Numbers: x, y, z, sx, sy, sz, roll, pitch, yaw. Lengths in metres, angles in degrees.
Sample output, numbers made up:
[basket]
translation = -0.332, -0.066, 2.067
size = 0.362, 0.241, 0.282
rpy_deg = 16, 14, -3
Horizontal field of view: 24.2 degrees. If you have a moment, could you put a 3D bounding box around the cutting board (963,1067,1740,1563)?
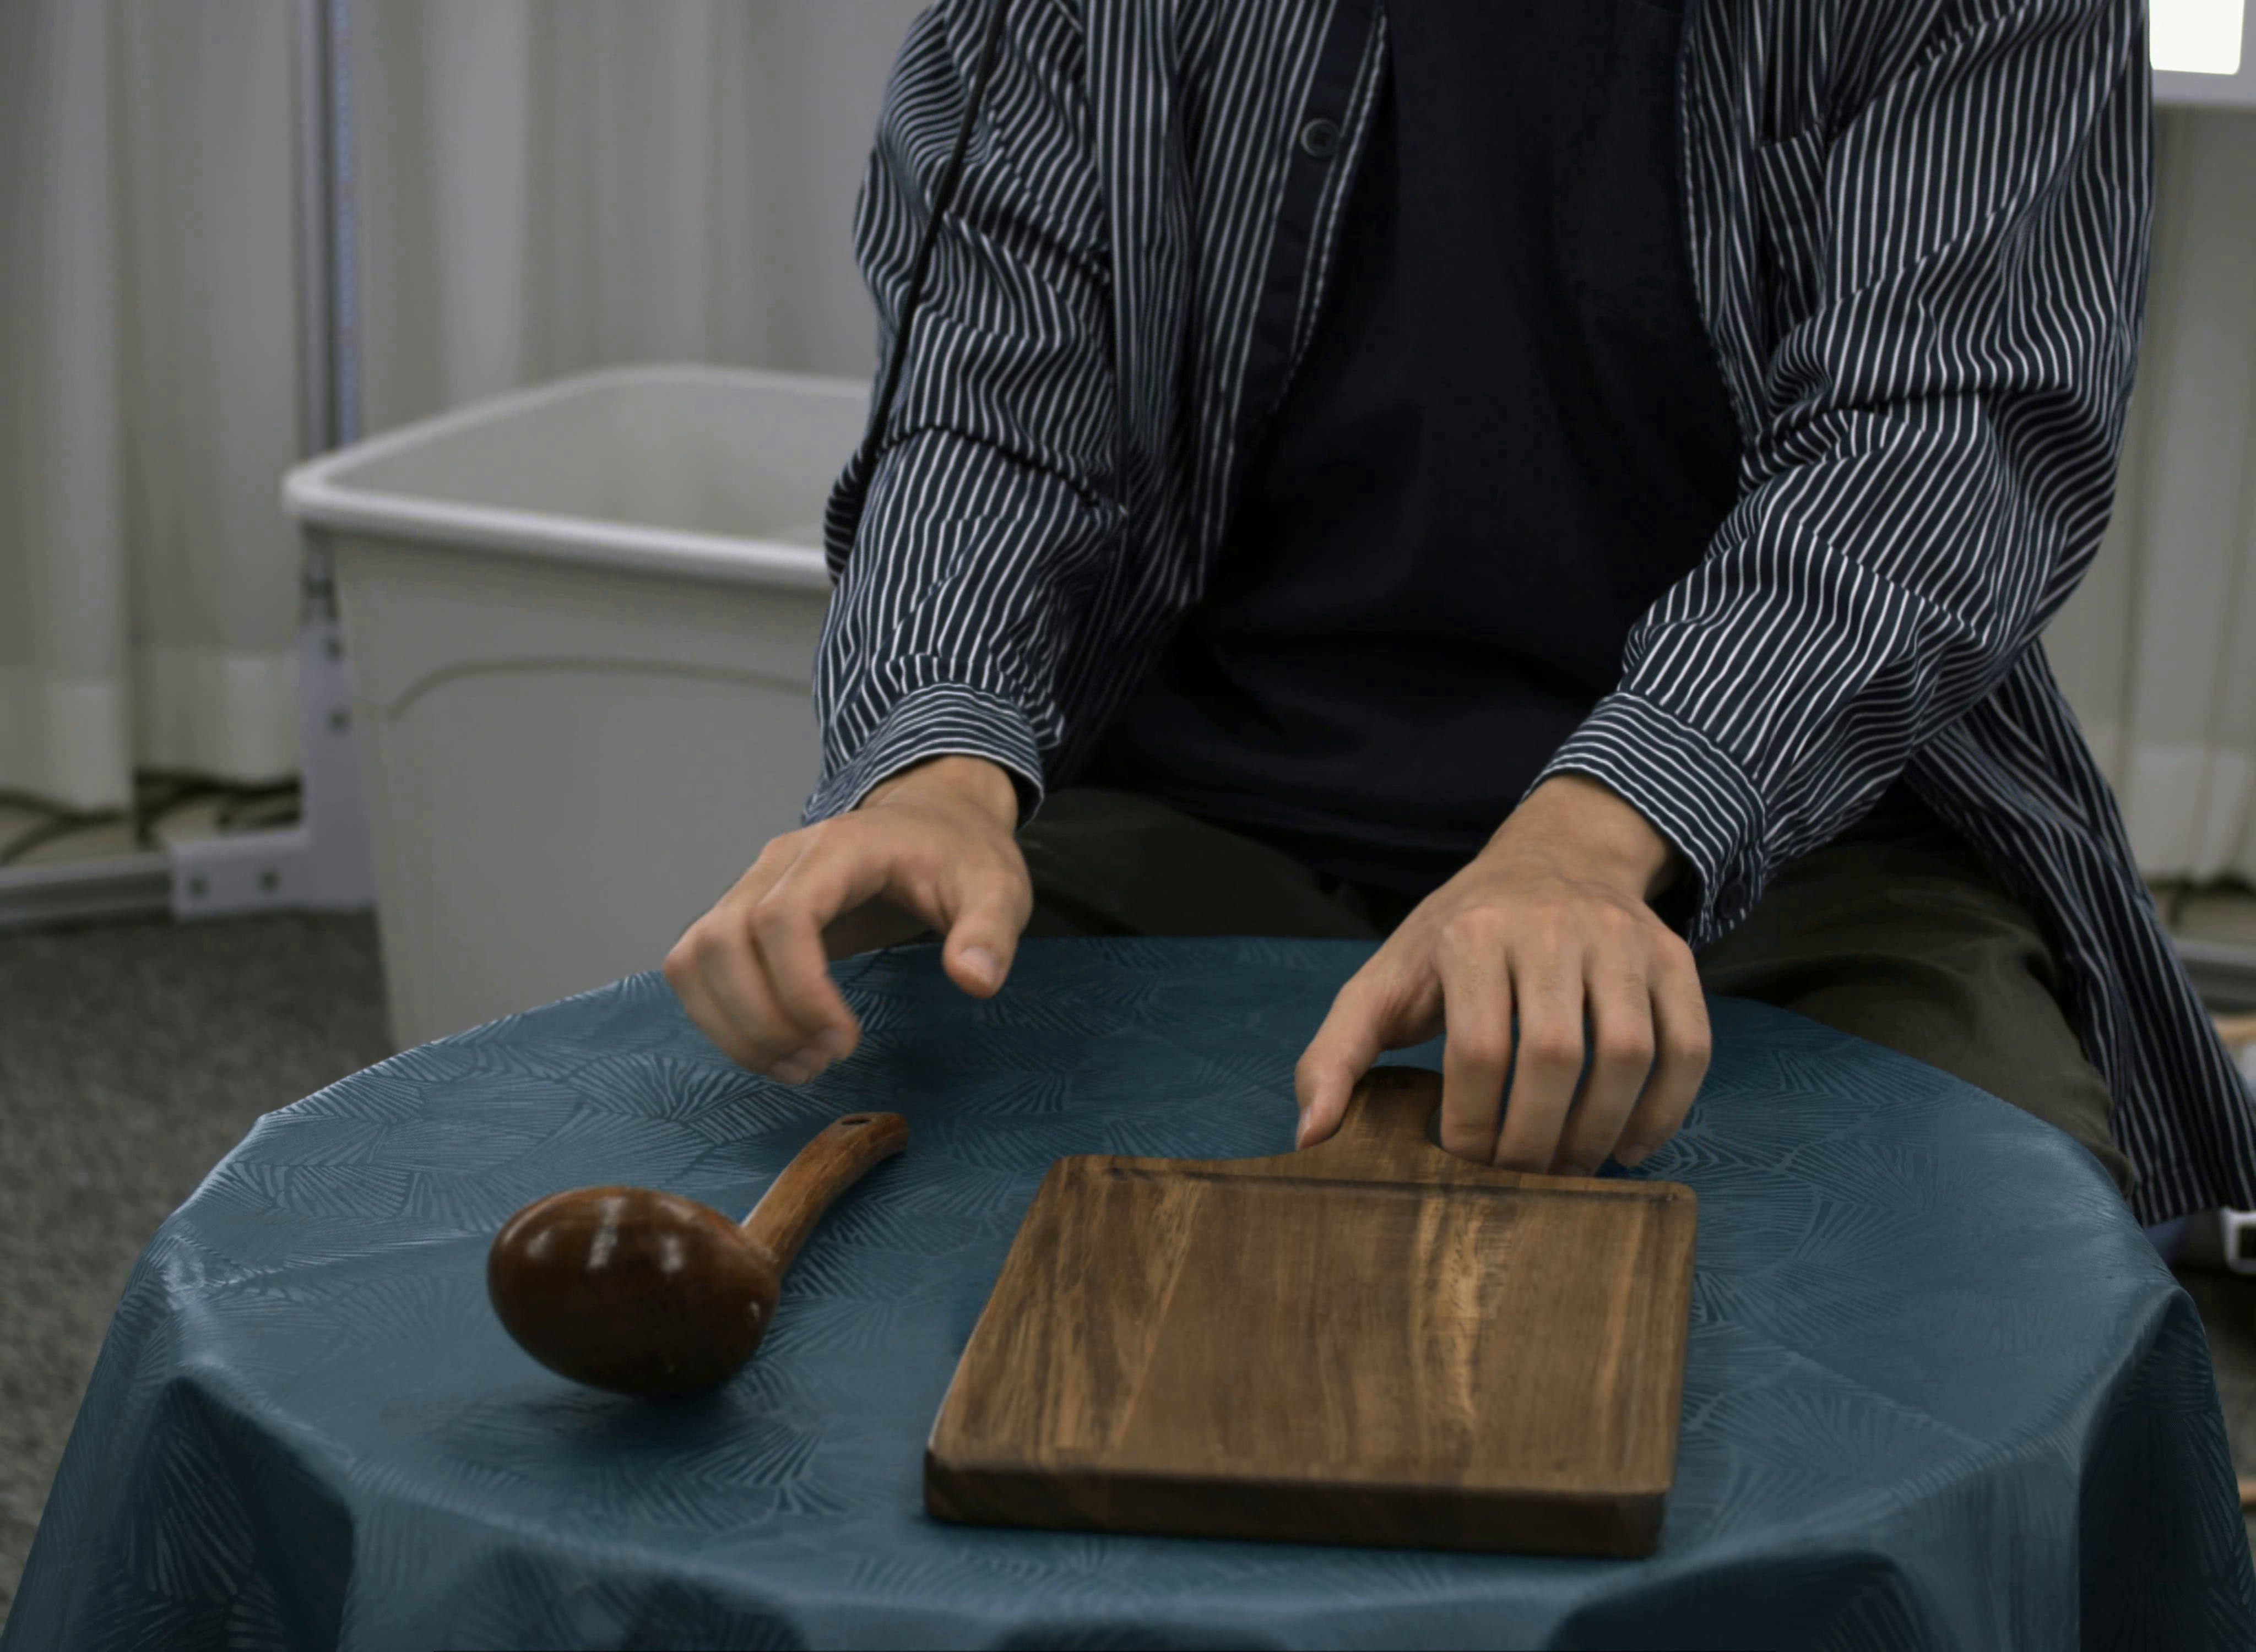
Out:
[cutting board]
translation = 0.077, 0.132, 1.522
size = 0.200, 0.023, 0.351
rpy_deg = 3, 15, 8

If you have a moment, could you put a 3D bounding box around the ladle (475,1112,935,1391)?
[ladle]
translation = -0.112, 0.099, 1.531
size = 0.081, 0.077, 0.274
rpy_deg = 0, 15, 15
